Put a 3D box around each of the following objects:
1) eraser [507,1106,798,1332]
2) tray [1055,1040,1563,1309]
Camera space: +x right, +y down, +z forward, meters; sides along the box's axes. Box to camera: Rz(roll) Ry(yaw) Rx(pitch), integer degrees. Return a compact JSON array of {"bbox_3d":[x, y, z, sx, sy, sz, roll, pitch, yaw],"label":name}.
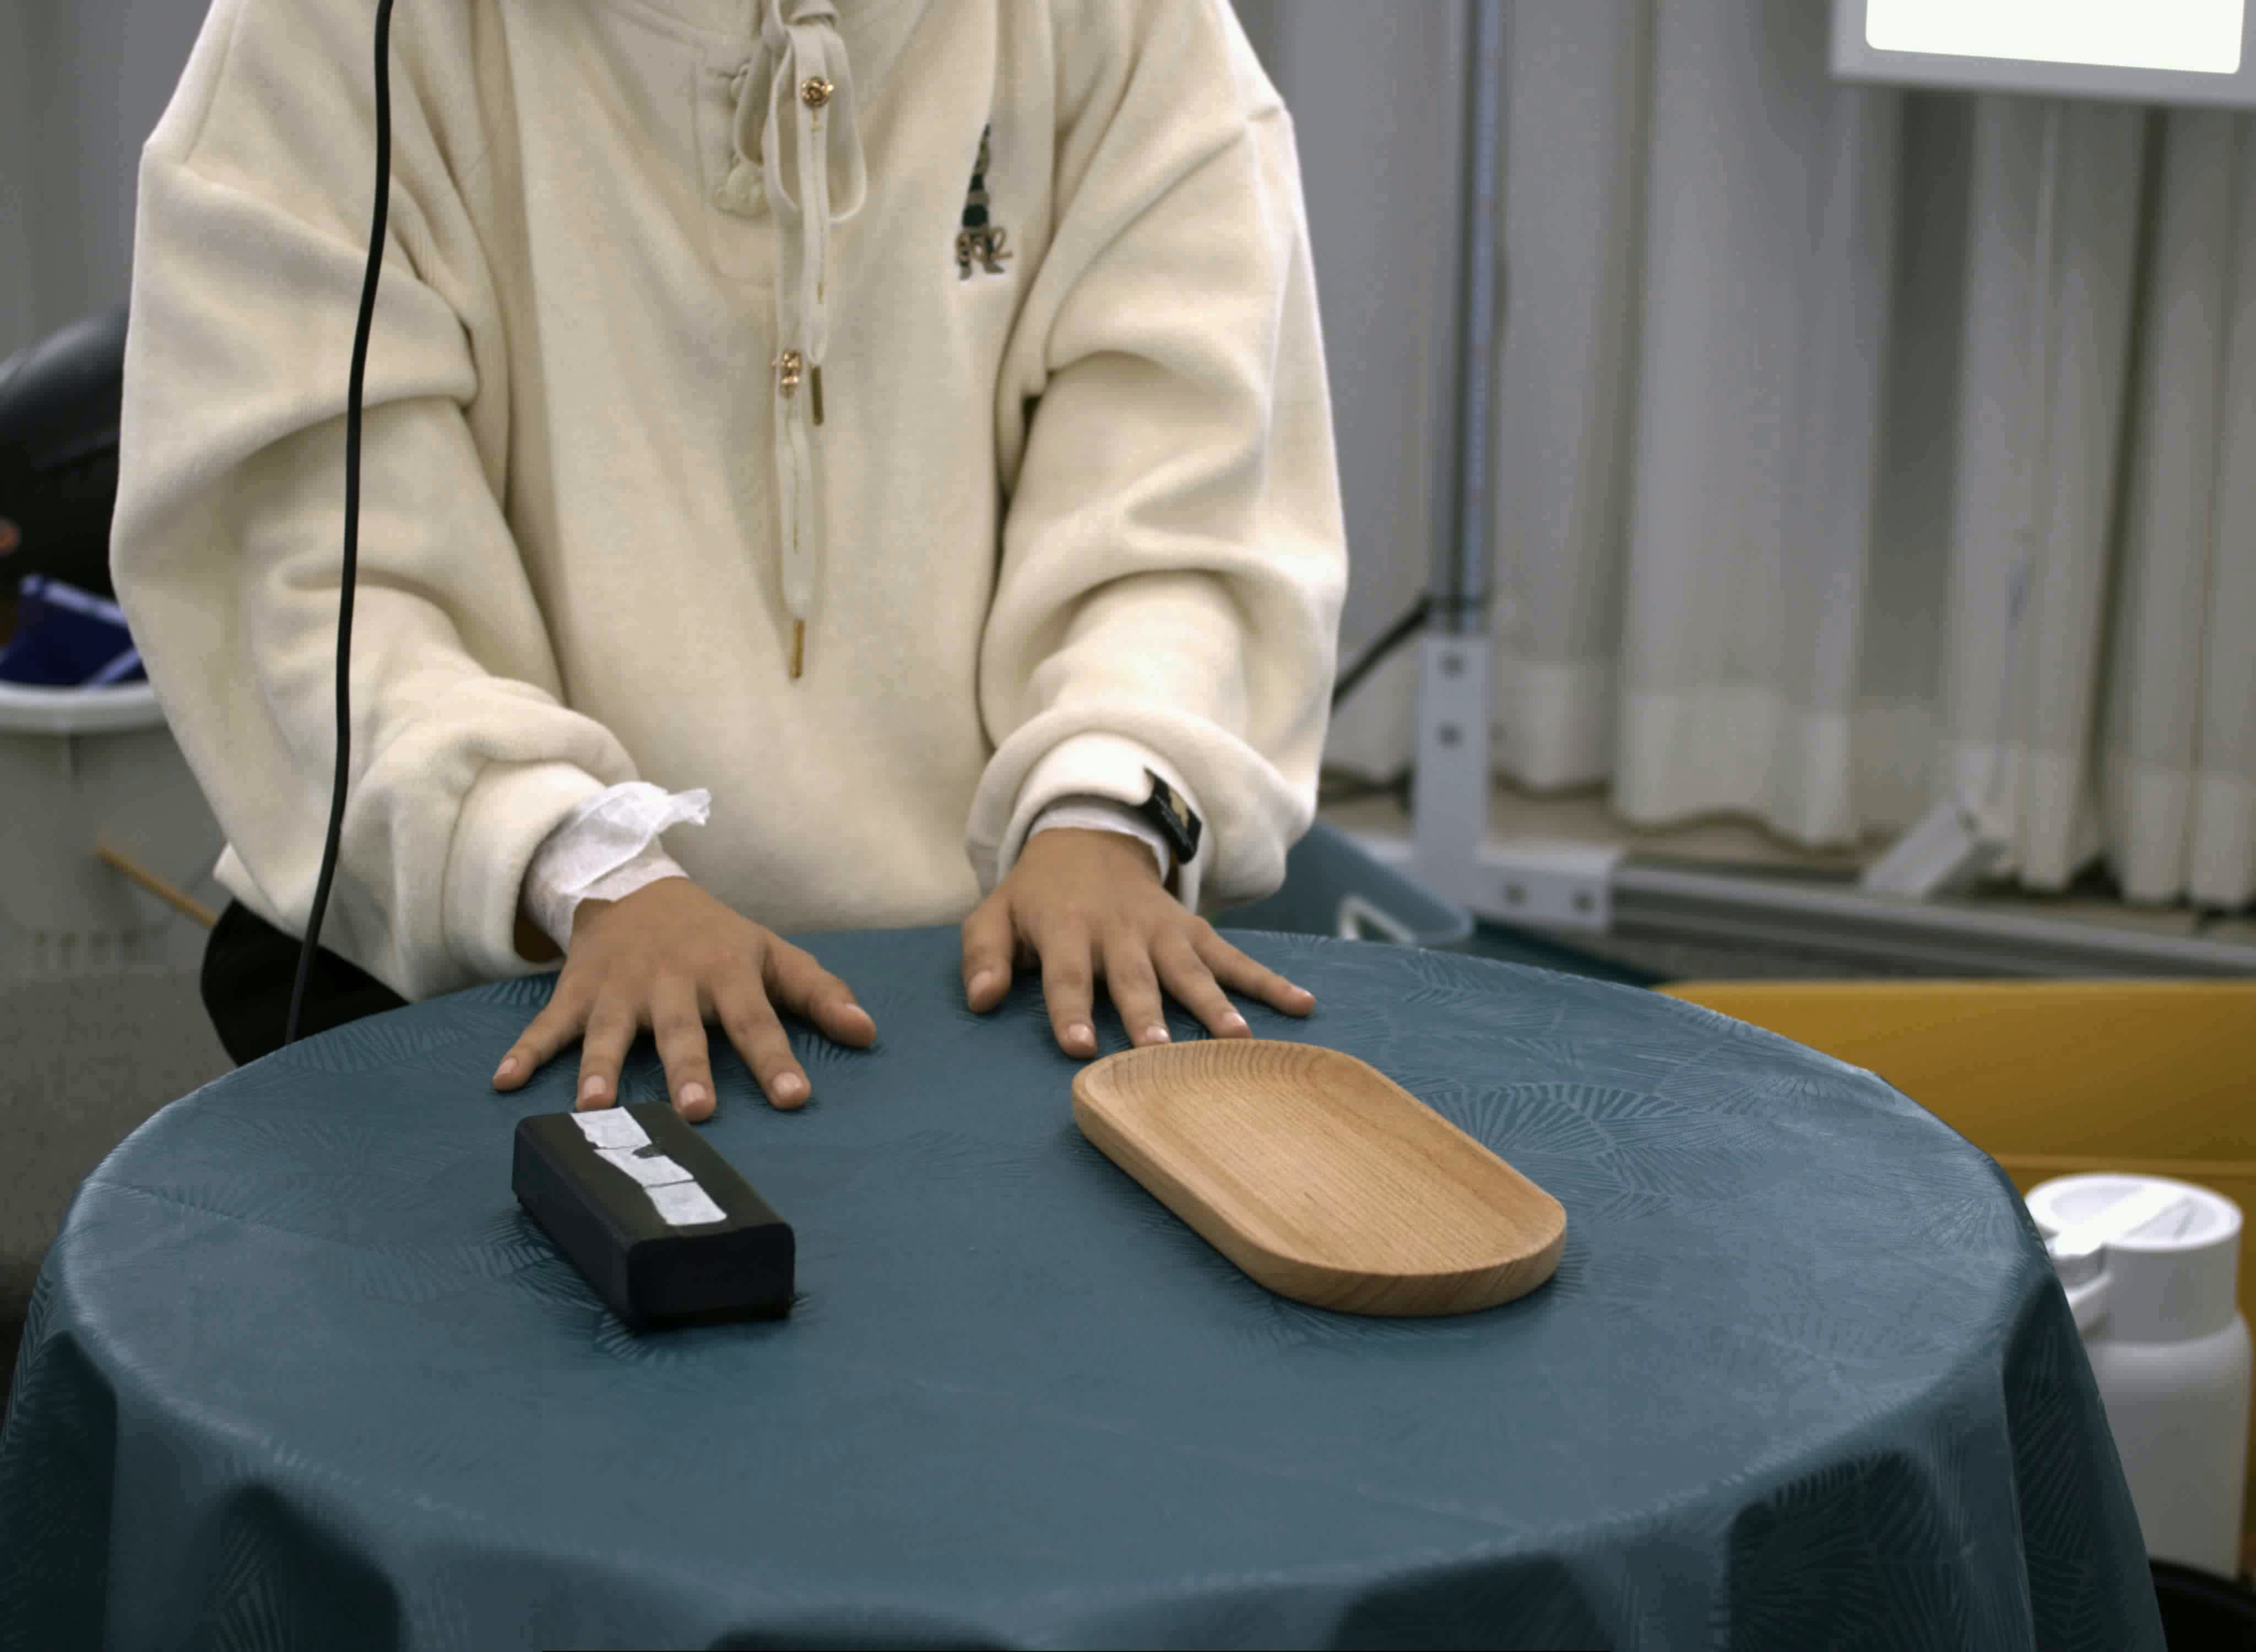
[{"bbox_3d":[-0.141,0.115,1.552,0.054,0.030,0.124,0,16,-23],"label":"eraser"},{"bbox_3d":[0.053,0.105,1.620,0.102,0.020,0.228,-5,15,-23],"label":"tray"}]
